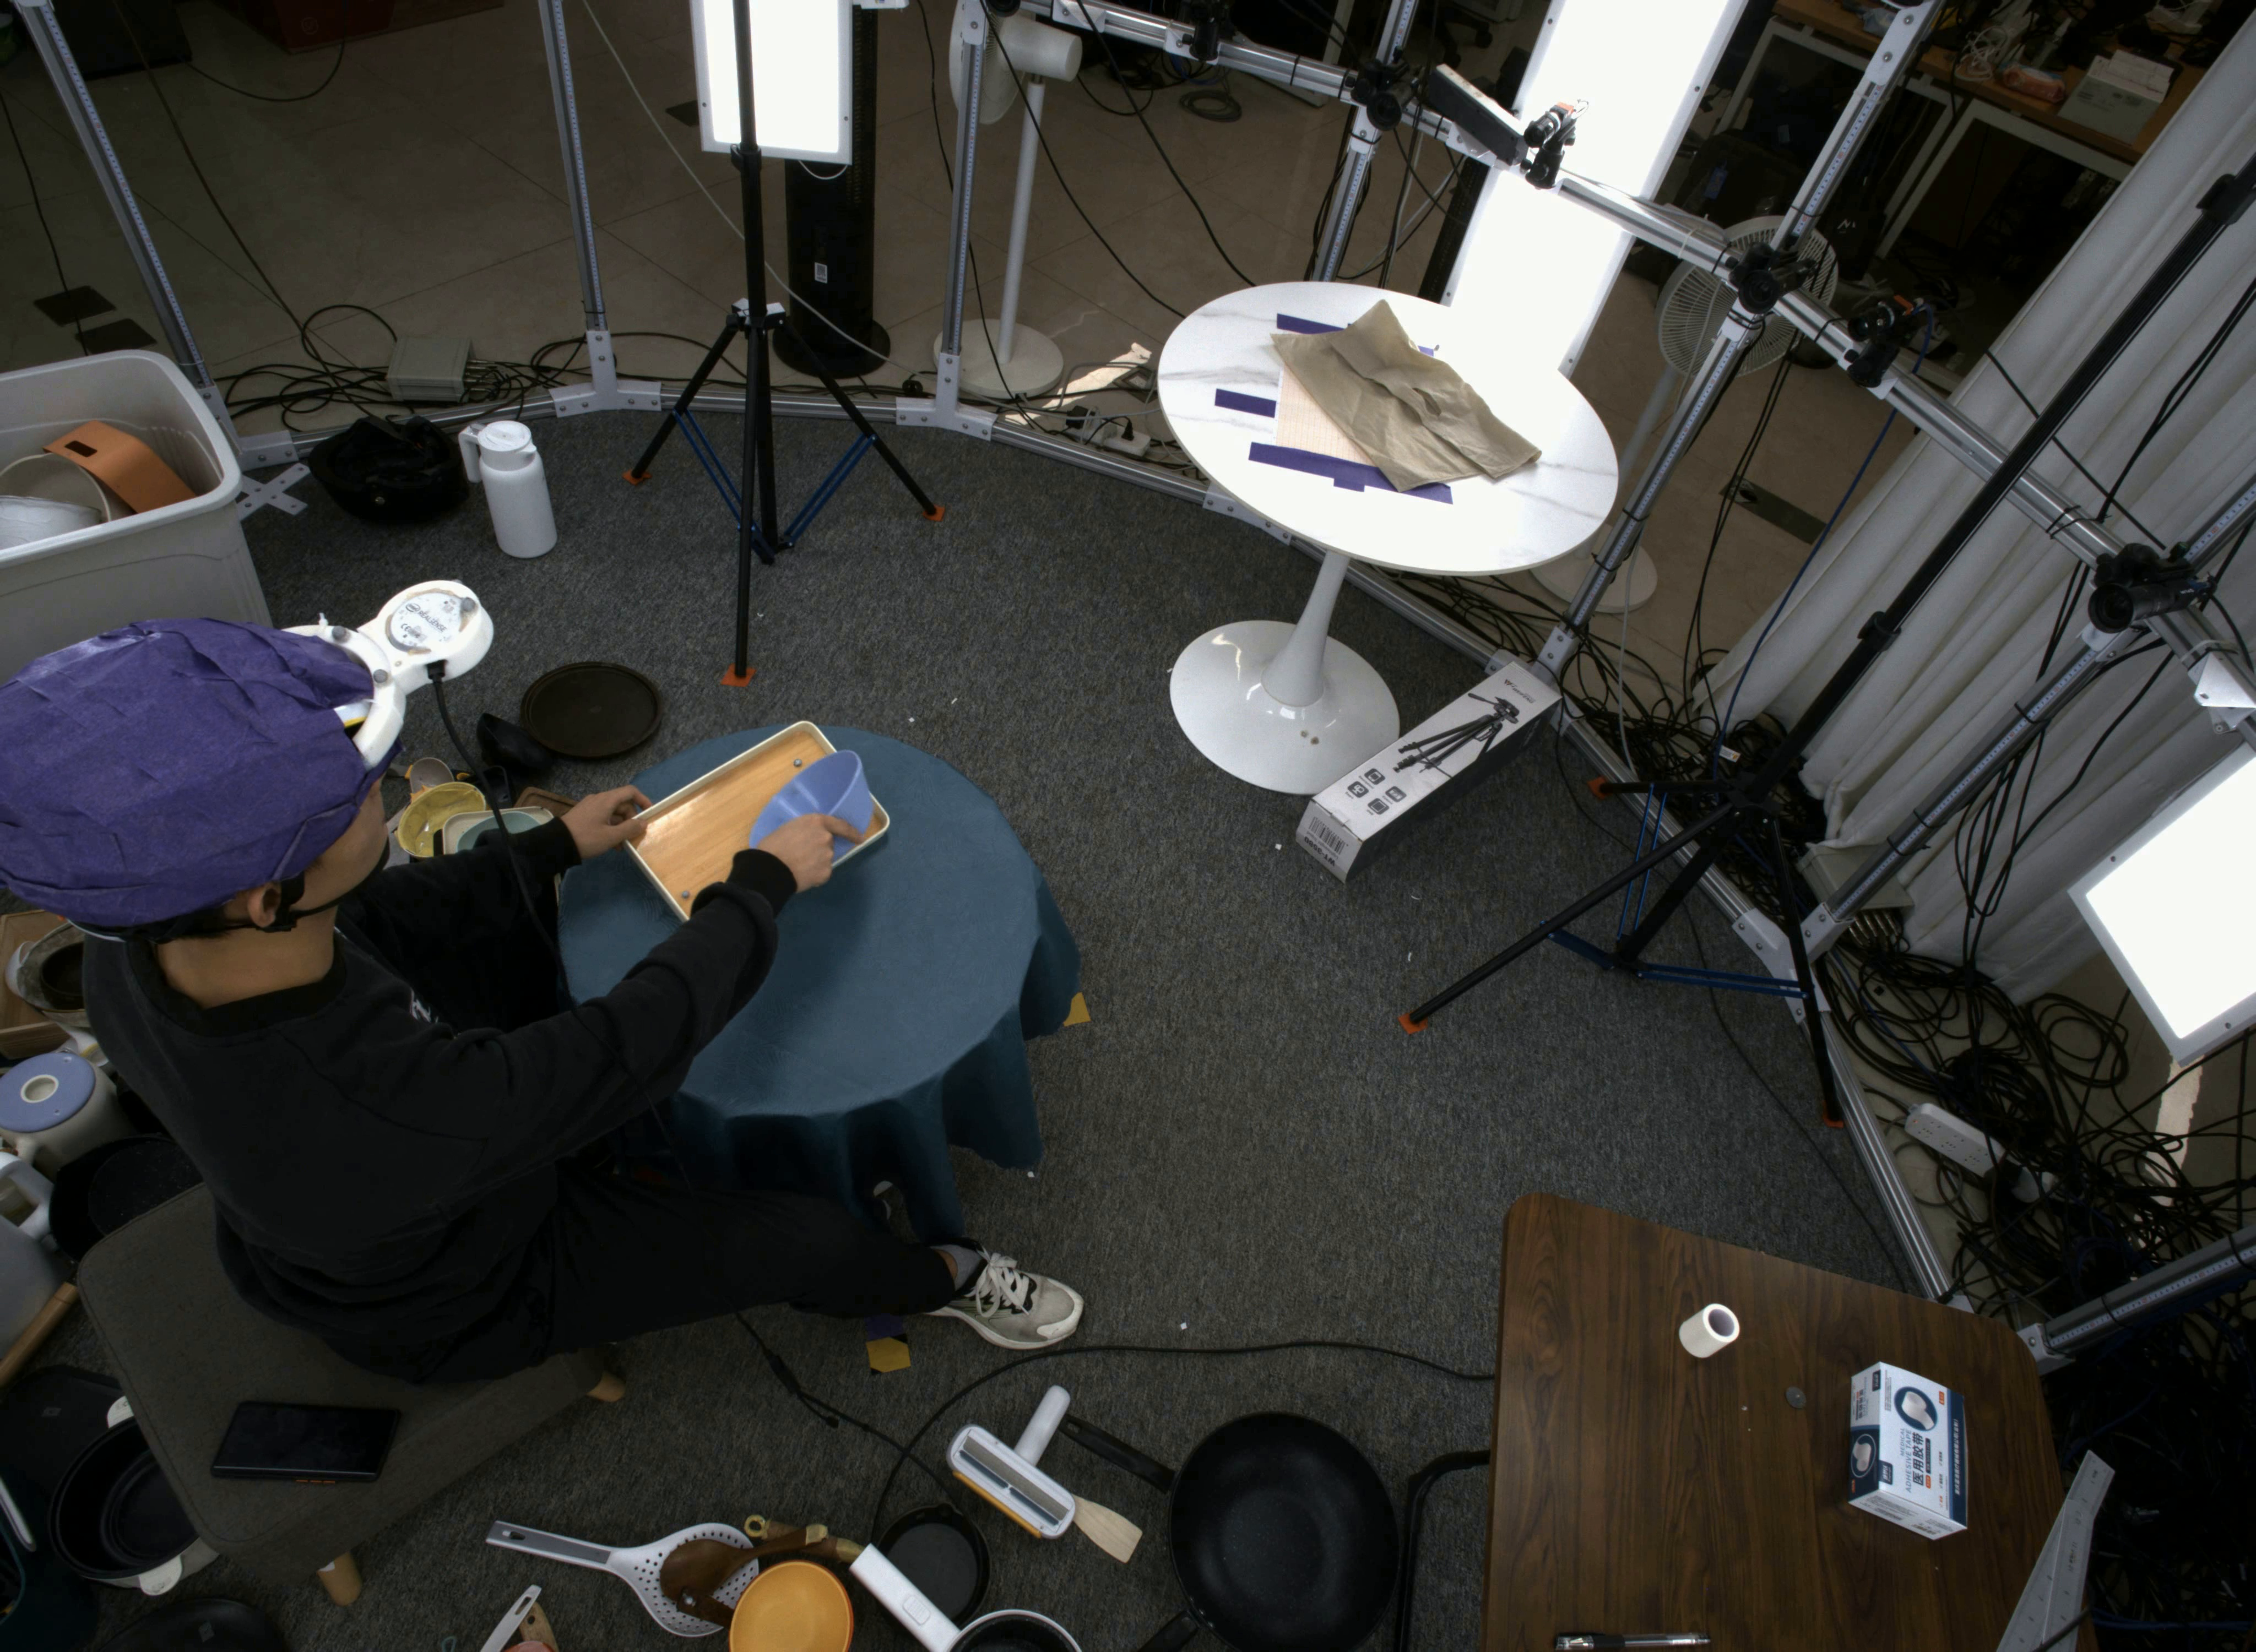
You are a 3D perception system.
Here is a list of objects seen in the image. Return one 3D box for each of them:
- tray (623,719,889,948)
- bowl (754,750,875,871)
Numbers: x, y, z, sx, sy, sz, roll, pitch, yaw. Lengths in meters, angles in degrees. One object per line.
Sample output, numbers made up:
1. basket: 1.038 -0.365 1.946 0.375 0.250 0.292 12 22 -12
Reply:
1. tray: -0.475 0.003 1.664 0.301 0.027 0.191 -38 87 -34
2. bowl: -0.381 -0.010 1.623 0.073 0.173 0.172 50 25 -30
